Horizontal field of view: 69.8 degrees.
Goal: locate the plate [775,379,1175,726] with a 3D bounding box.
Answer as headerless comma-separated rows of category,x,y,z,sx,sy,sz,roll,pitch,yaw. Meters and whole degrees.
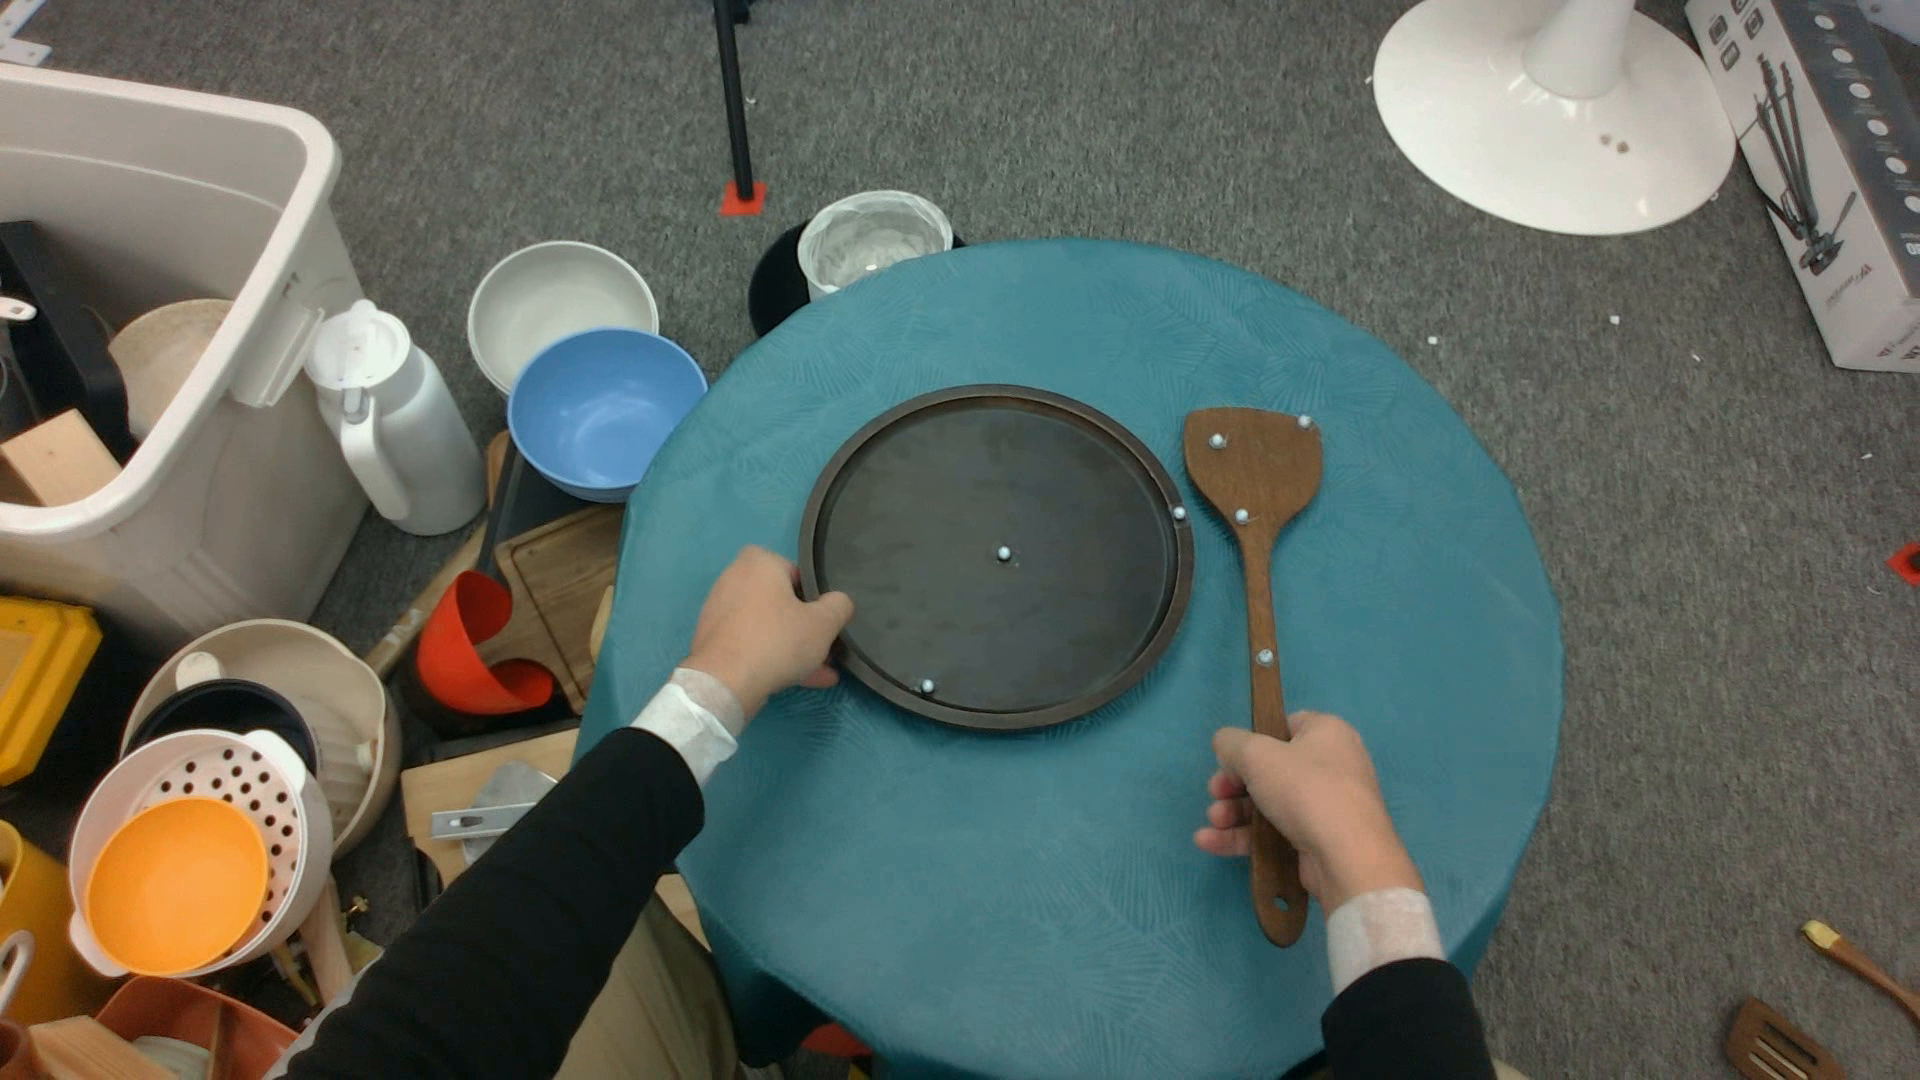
plate,0.009,0.002,0.875,0.255,0.029,0.256,2,58,-3

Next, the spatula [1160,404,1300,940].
spatula,0.171,0.055,0.826,0.096,0.015,0.388,7,49,-2
